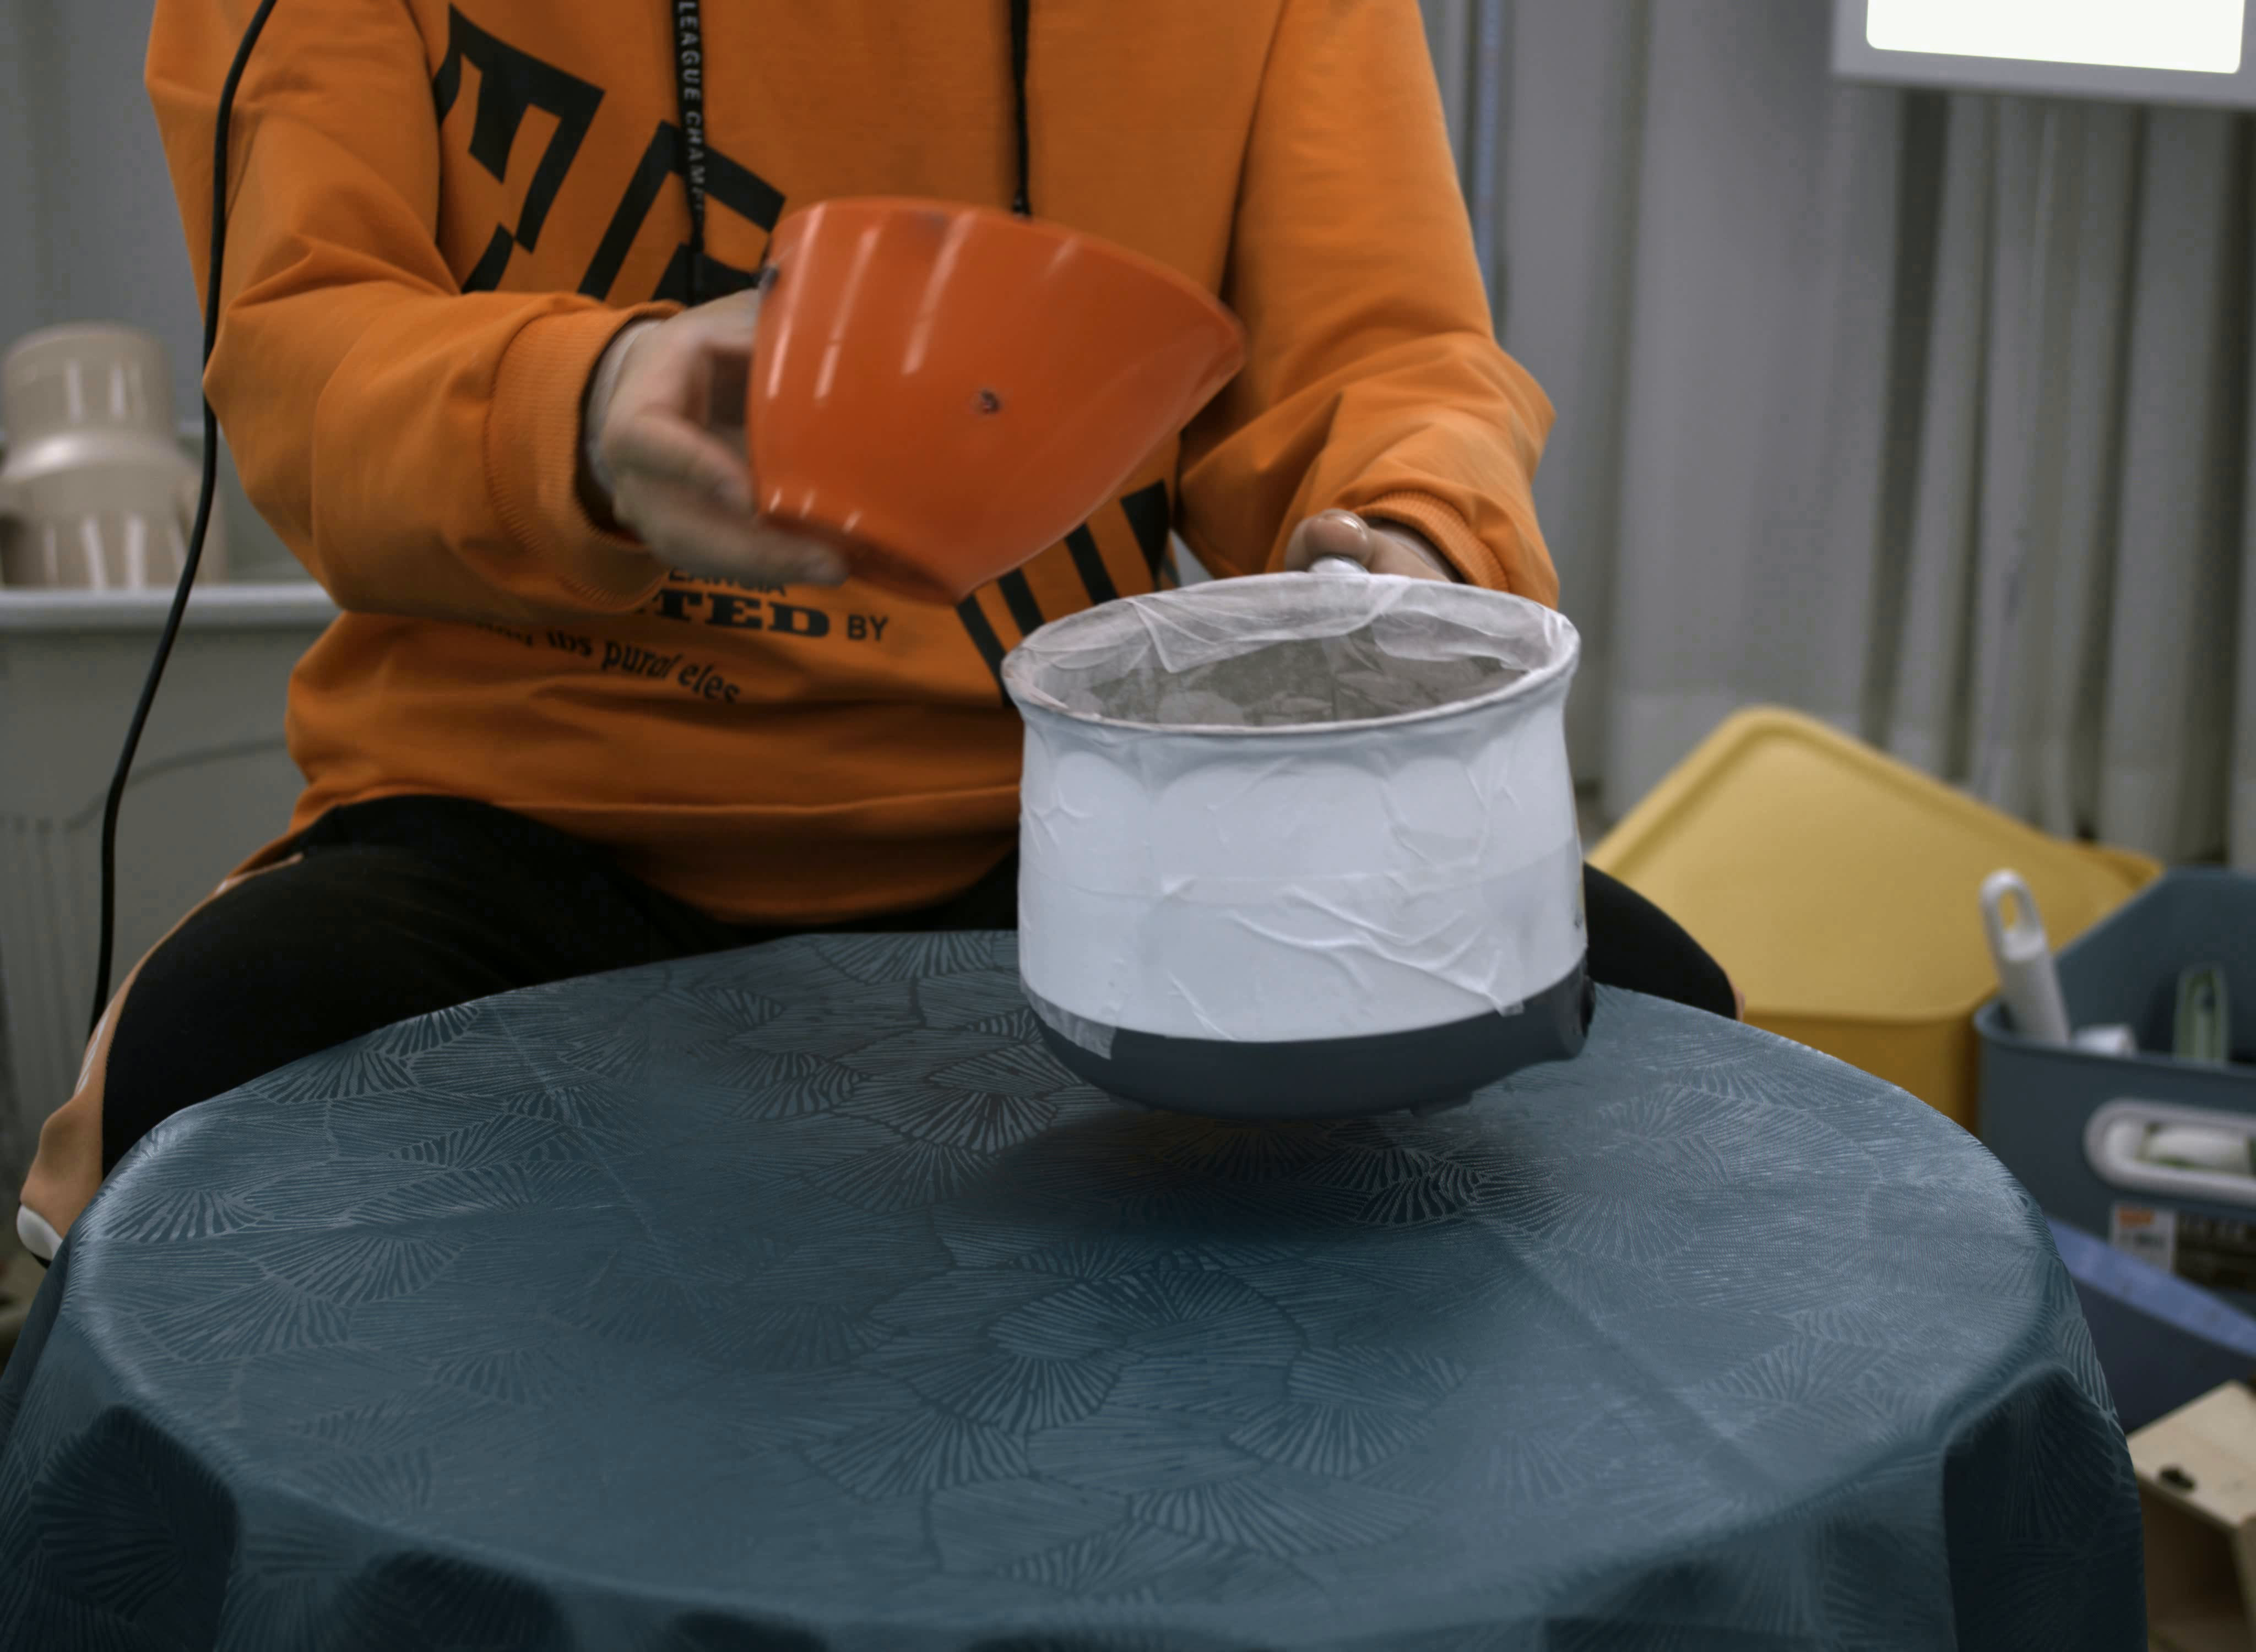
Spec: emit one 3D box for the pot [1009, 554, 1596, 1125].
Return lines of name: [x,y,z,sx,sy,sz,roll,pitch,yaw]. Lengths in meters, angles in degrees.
pot: [0.058,-0.001,1.649,0.177,0.138,0.233,0,18,8]

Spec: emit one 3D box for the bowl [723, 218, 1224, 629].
bowl: [-0.058,-0.117,1.582,0.147,0.104,0.148,20,-10,4]
